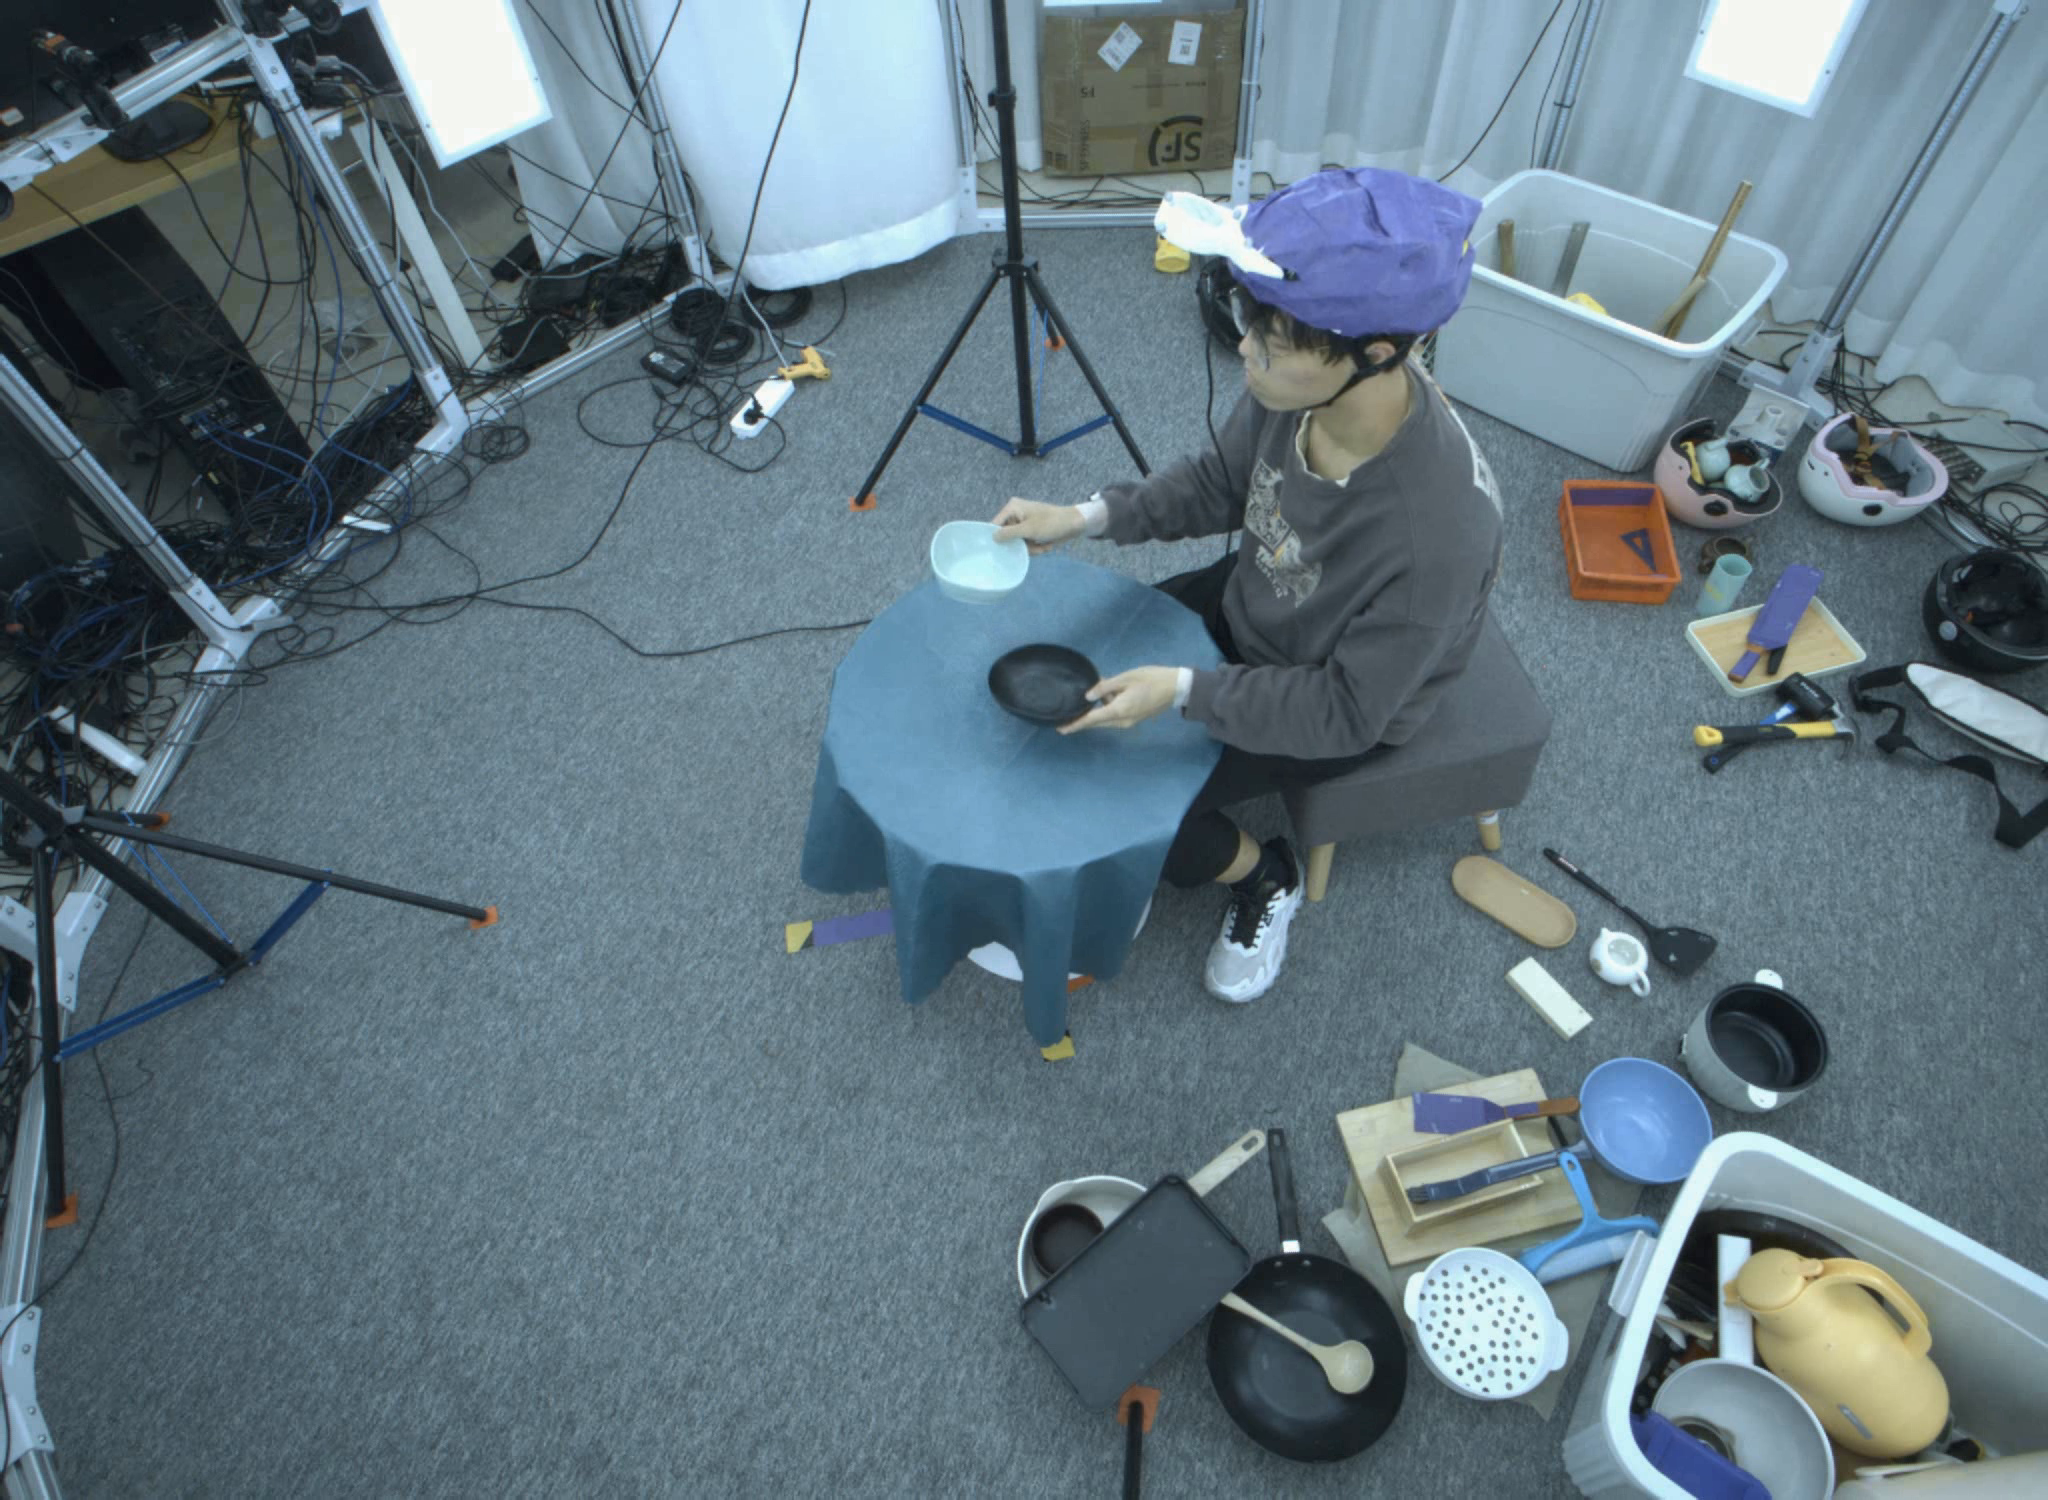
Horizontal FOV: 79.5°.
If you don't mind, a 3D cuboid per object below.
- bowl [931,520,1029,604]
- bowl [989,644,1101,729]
[{"bbox_3d":[-0.066,-0.259,1.745,0.152,0.059,0.150,6,54,-7],"label":"bowl"},{"bbox_3d":[0.030,-0.080,1.759,0.168,0.067,0.137,19,58,18],"label":"bowl"}]
